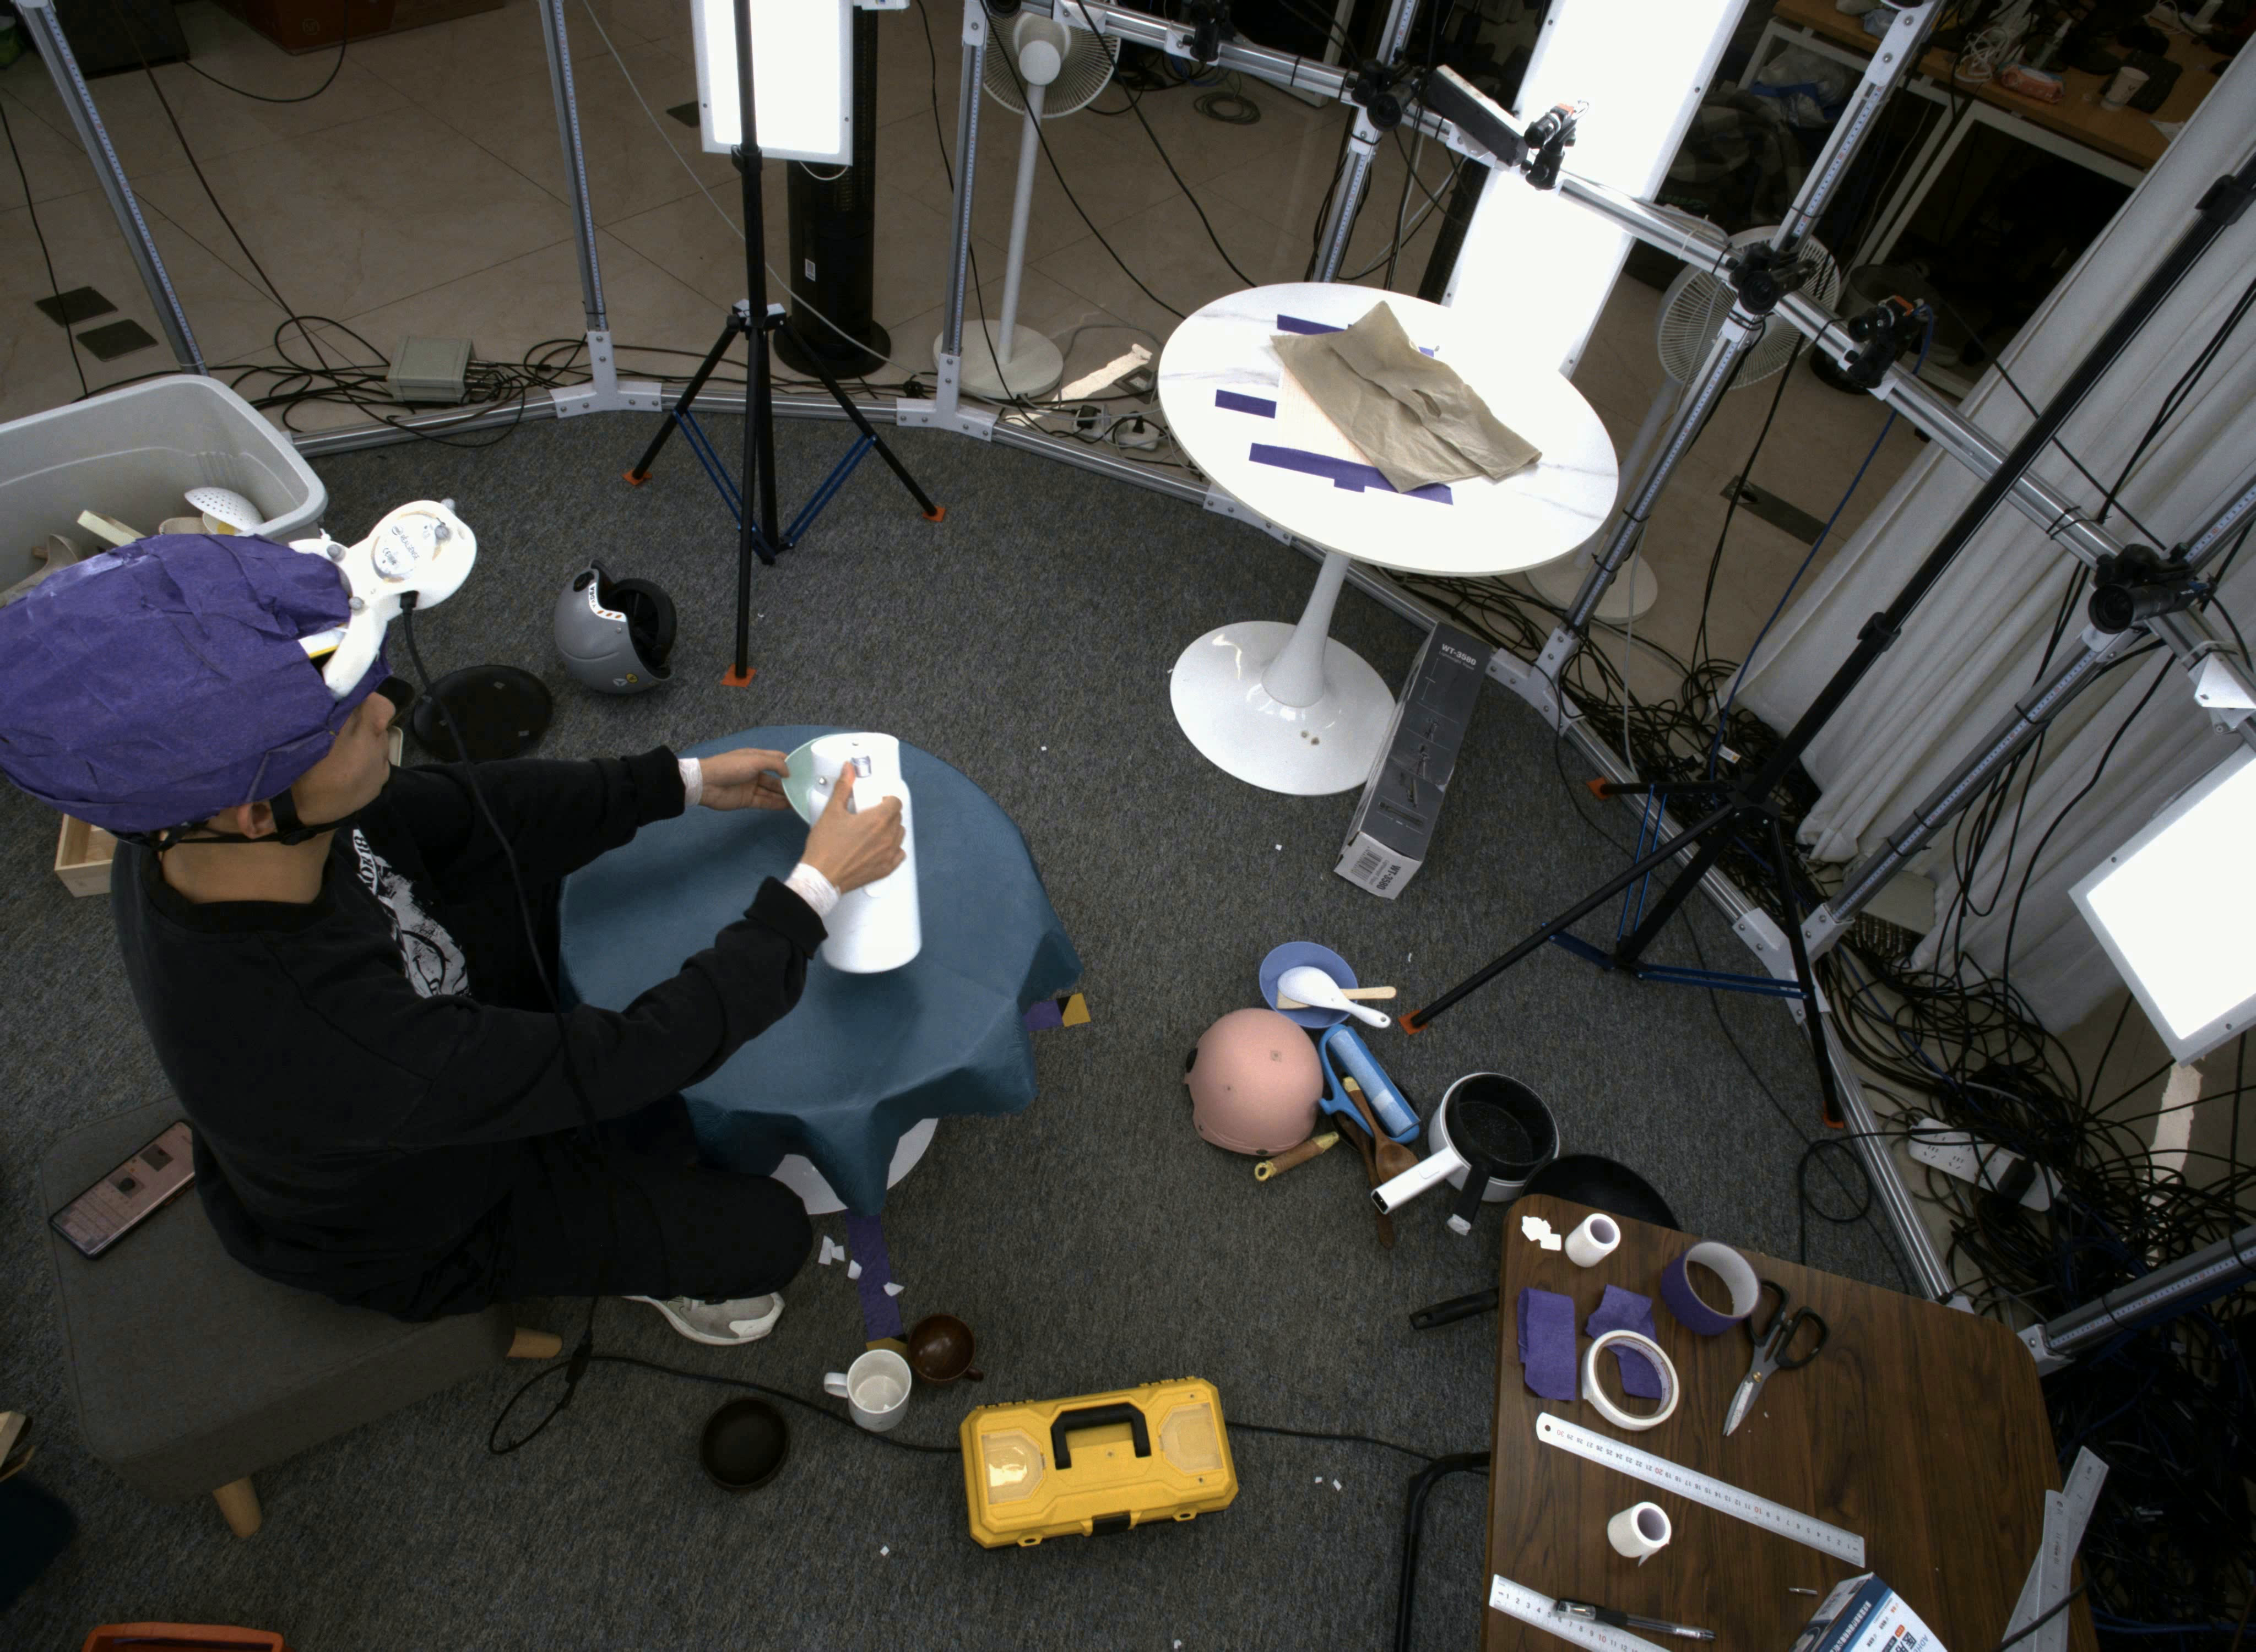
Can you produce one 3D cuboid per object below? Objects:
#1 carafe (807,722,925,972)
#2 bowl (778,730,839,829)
[{"bbox_3d":[-0.299,0.031,1.497,0.124,0.276,0.167,-7,23,-18],"label":"carafe"},{"bbox_3d":[-0.378,-0.047,1.684,0.151,0.059,0.149,8,60,-11],"label":"bowl"}]
